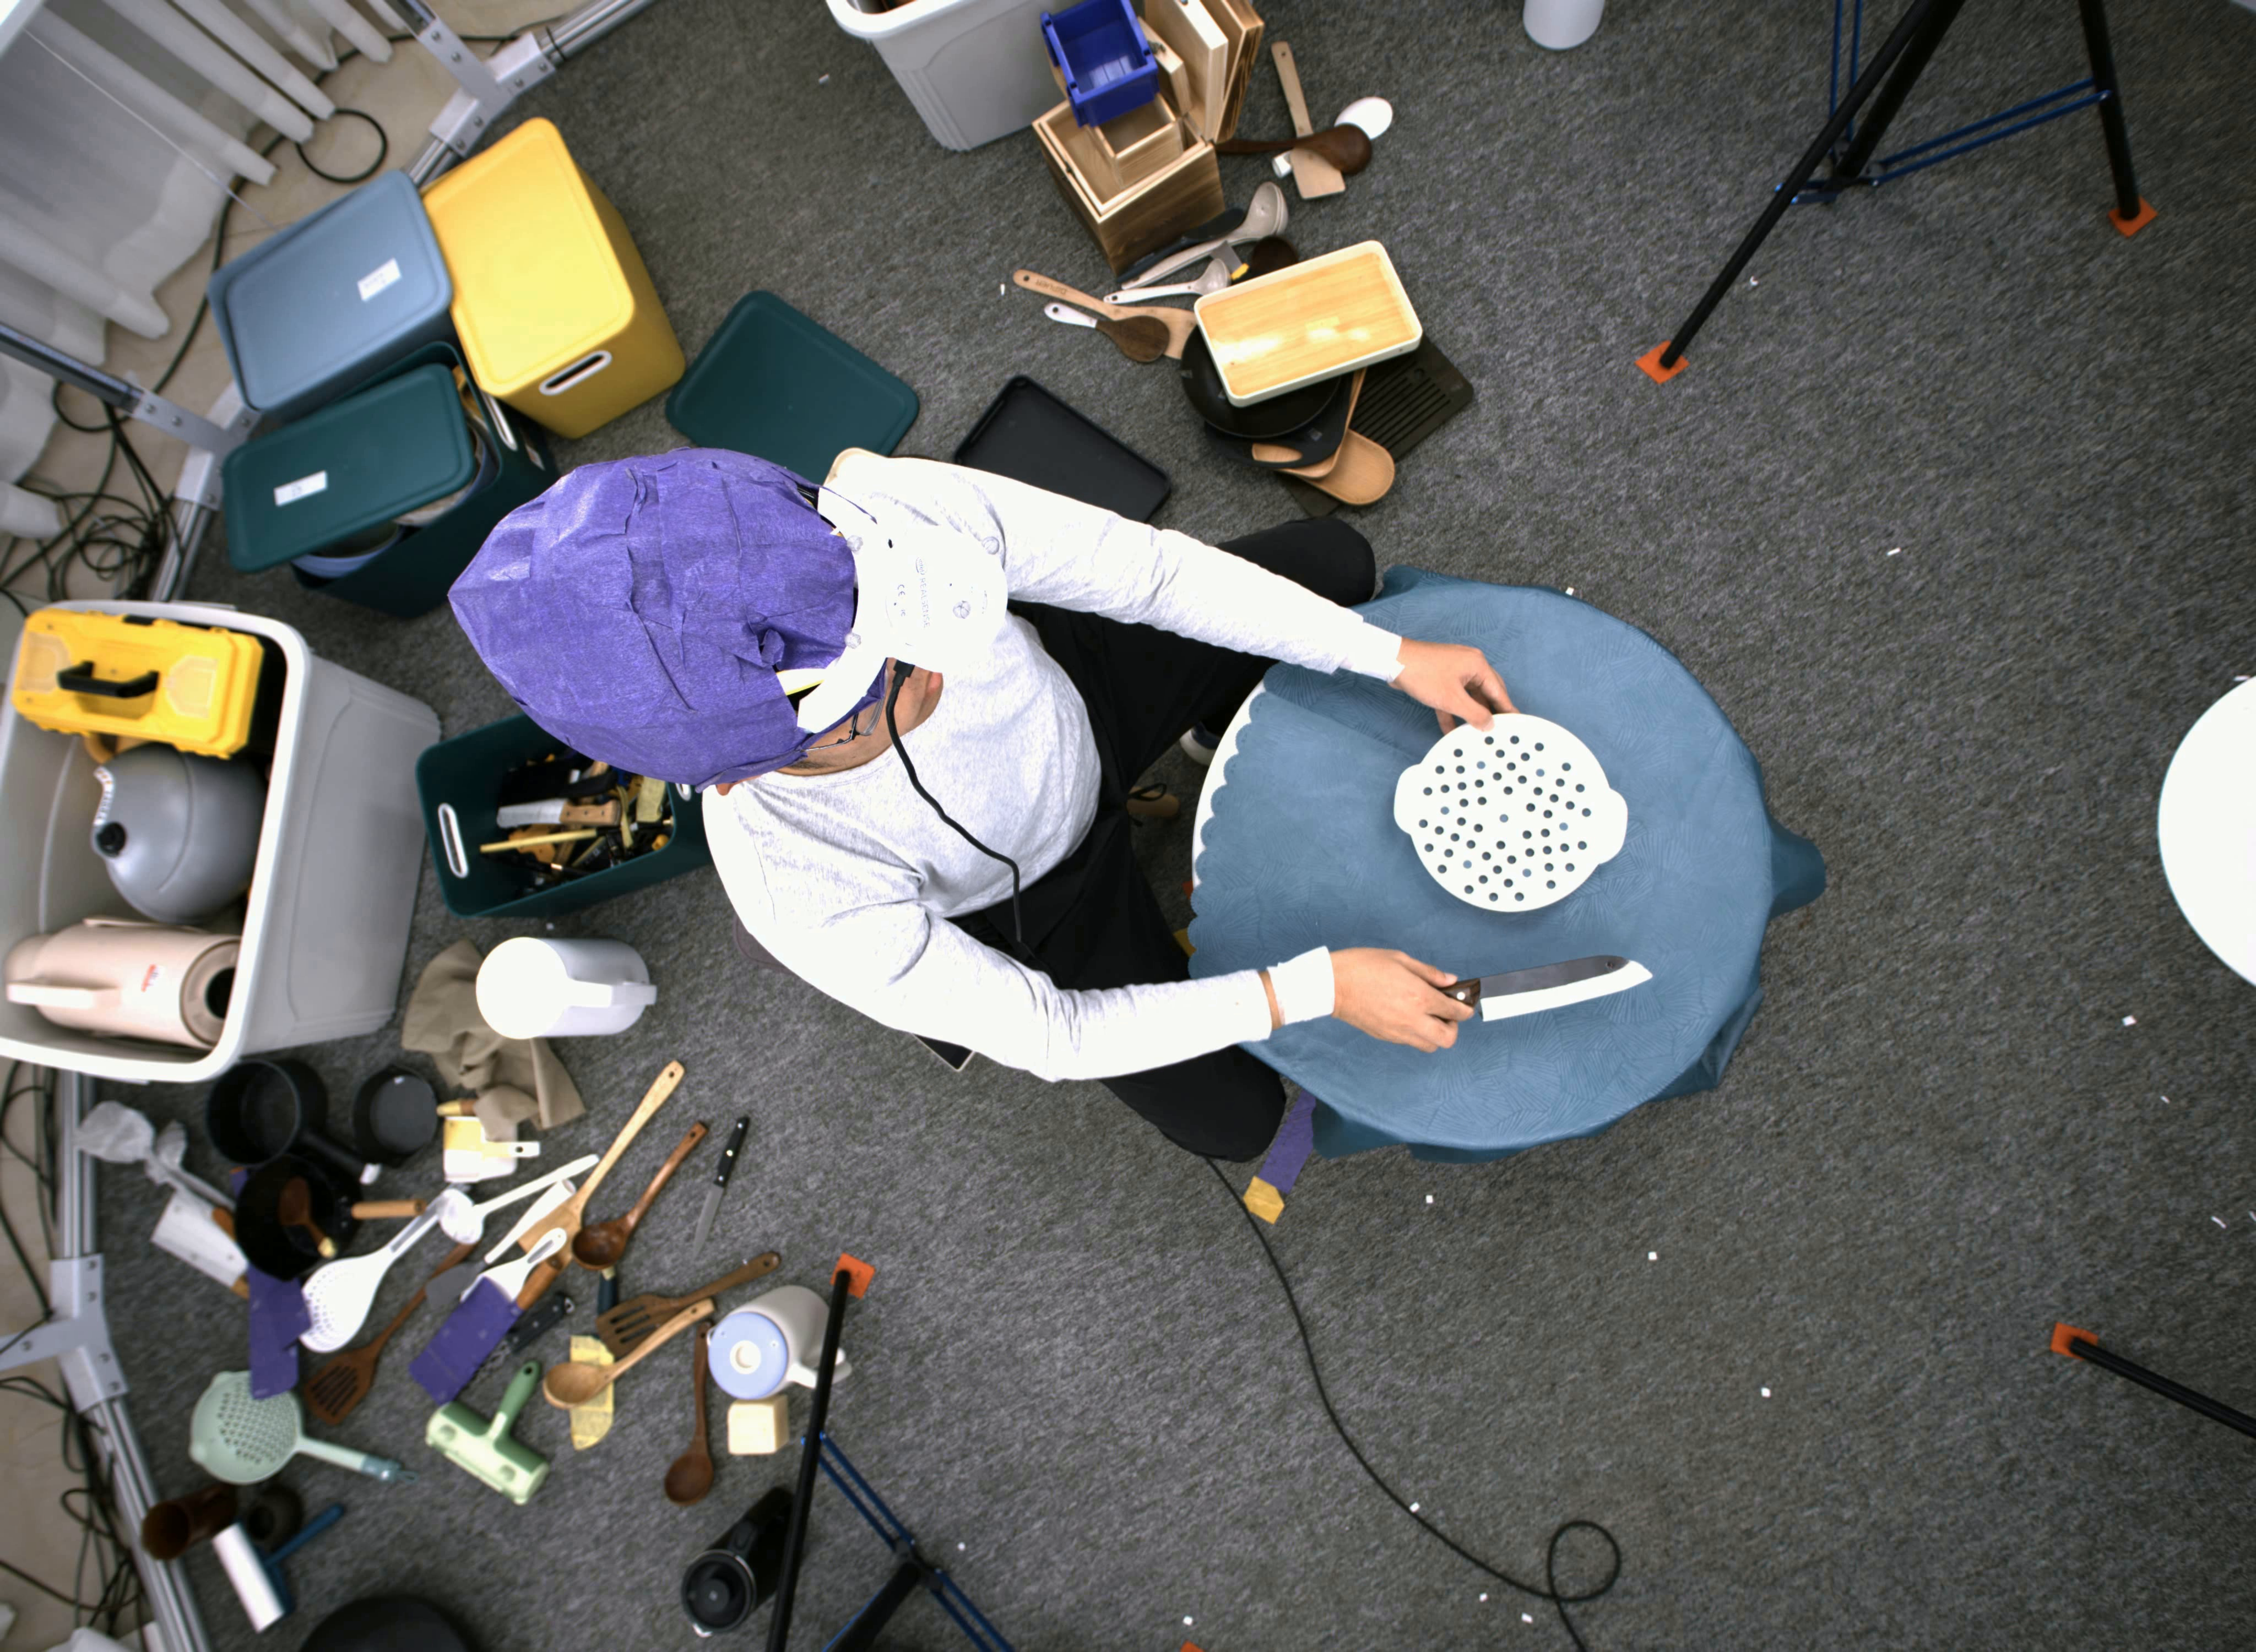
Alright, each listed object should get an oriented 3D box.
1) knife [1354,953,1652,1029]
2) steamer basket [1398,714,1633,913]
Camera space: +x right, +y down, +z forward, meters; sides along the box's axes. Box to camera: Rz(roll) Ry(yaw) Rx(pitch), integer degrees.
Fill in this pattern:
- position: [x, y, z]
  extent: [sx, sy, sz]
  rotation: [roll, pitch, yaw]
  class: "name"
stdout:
- position: [0.364, 0.161, 1.342]
  extent: [0.290, 0.020, 0.051]
  rotation: [-10, 104, 8]
  class: "knife"
- position: [0.393, -0.013, 1.407]
  extent: [0.231, 0.069, 0.201]
  rotation: [8, 87, 12]
  class: "steamer basket"
